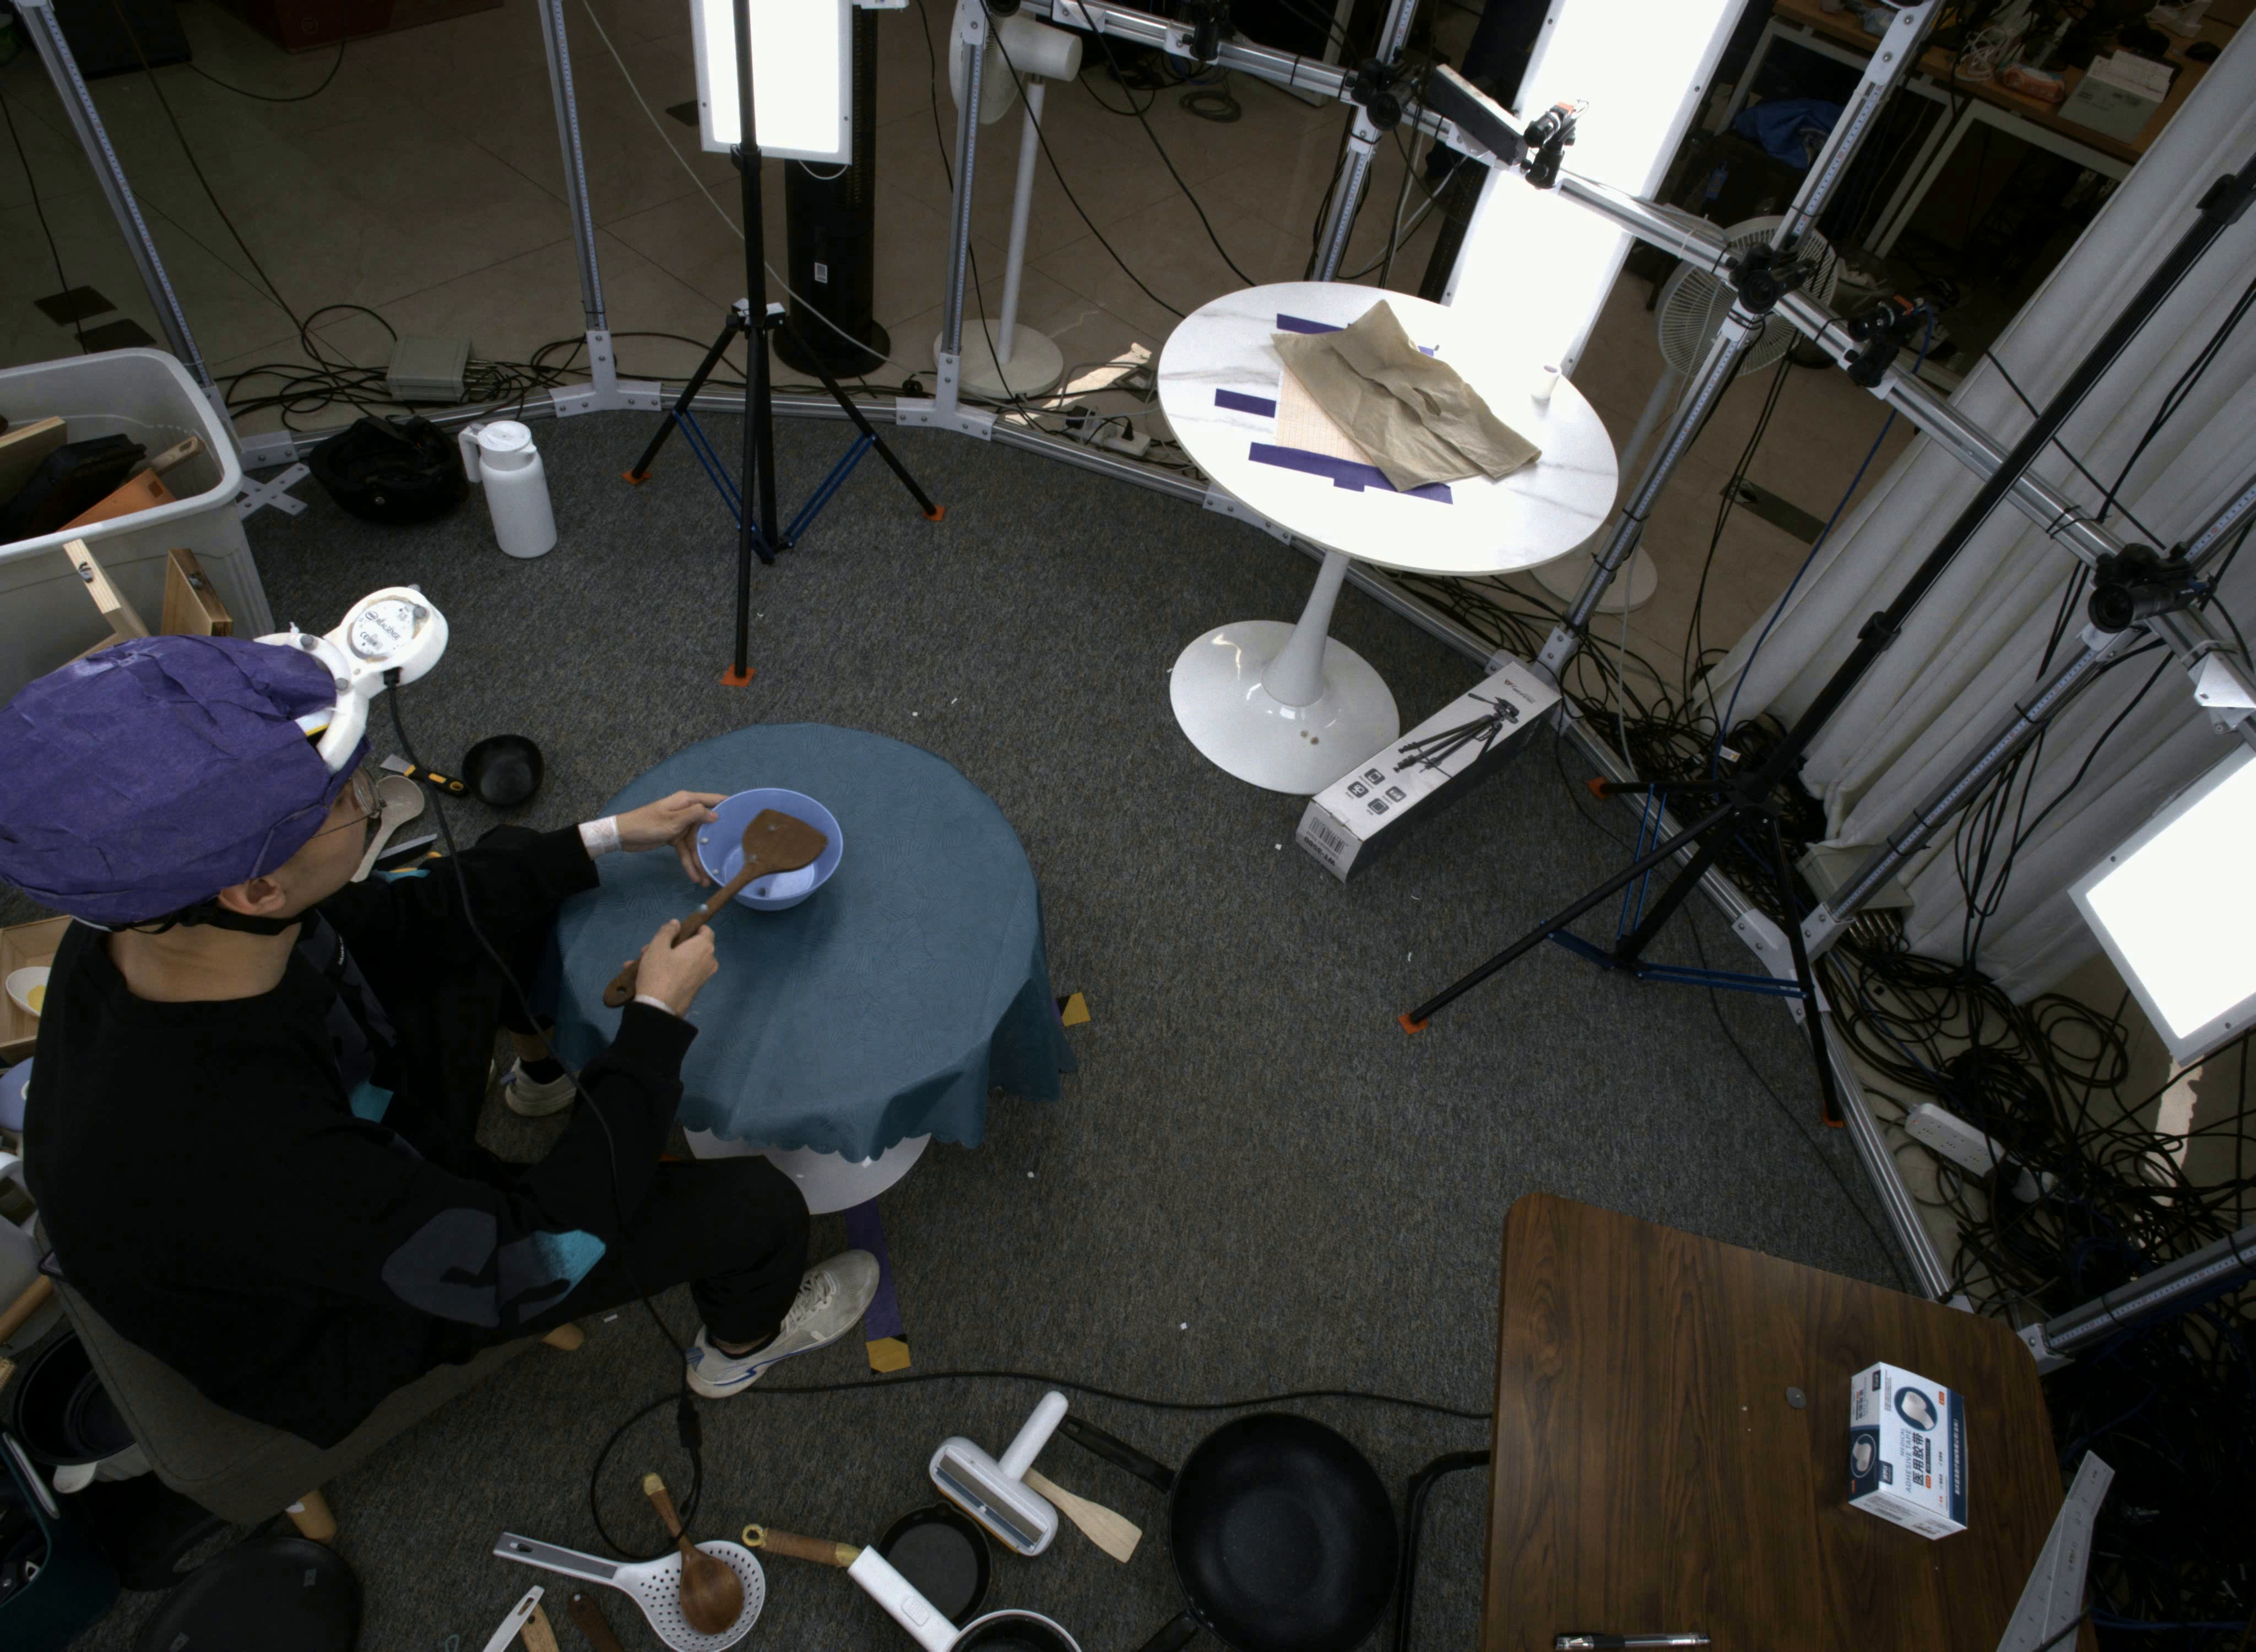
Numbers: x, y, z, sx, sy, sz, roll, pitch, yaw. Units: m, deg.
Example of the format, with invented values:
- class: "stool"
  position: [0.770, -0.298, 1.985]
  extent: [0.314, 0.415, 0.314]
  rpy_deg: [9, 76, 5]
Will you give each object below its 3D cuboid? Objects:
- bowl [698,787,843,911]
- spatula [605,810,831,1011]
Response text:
- class: "bowl"
  position: [-0.448, 0.038, 1.627]
  extent: [0.176, 0.072, 0.173]
  rpy_deg: [8, 50, -9]
- class: "spatula"
  position: [-0.457, 0.086, 1.428]
  extent: [0.095, 0.016, 0.383]
  rpy_deg: [28, 34, 4]
